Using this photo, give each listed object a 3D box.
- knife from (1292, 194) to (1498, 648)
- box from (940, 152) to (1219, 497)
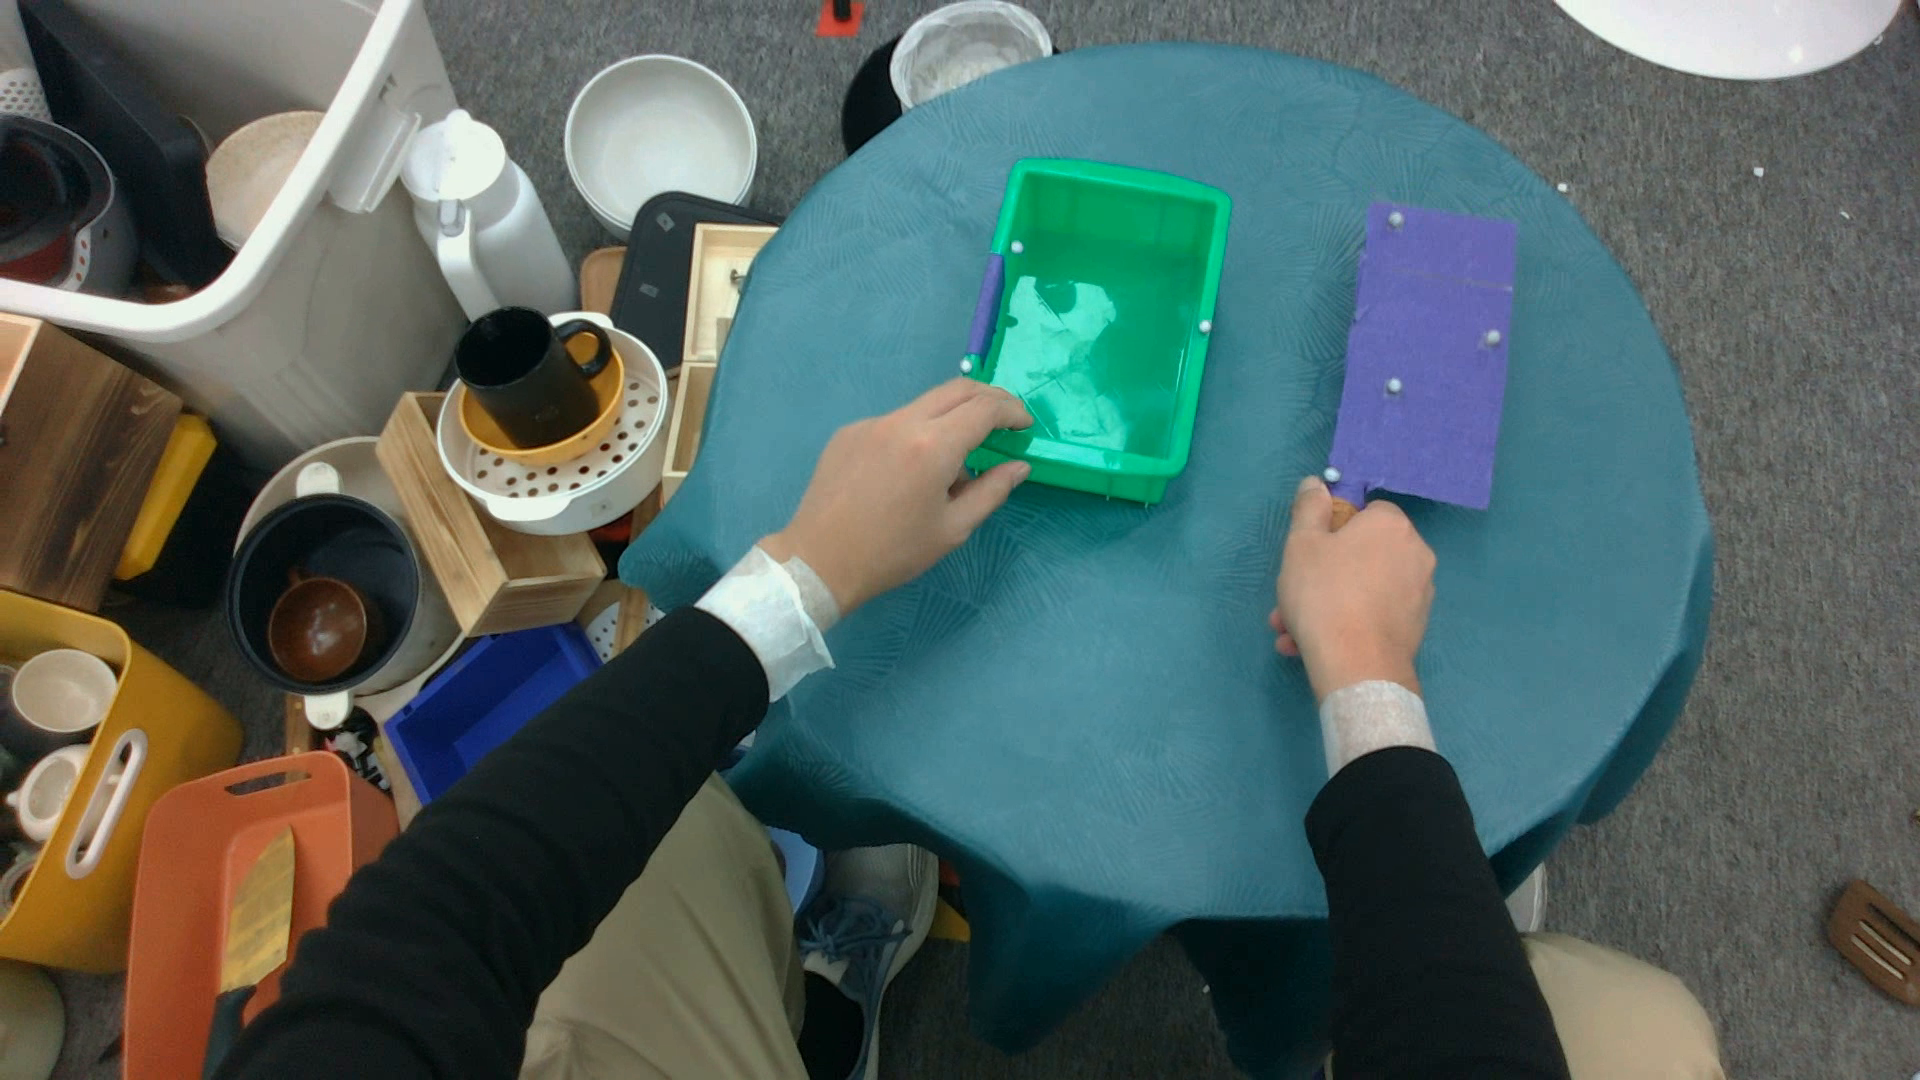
[{"bbox_3d":[0.258,-0.078,0.806,0.104,0.032,0.316,11,65,8],"label":"knife"},{"bbox_3d":[0.074,-0.128,0.835,0.138,0.065,0.211,10,68,6],"label":"box"}]
